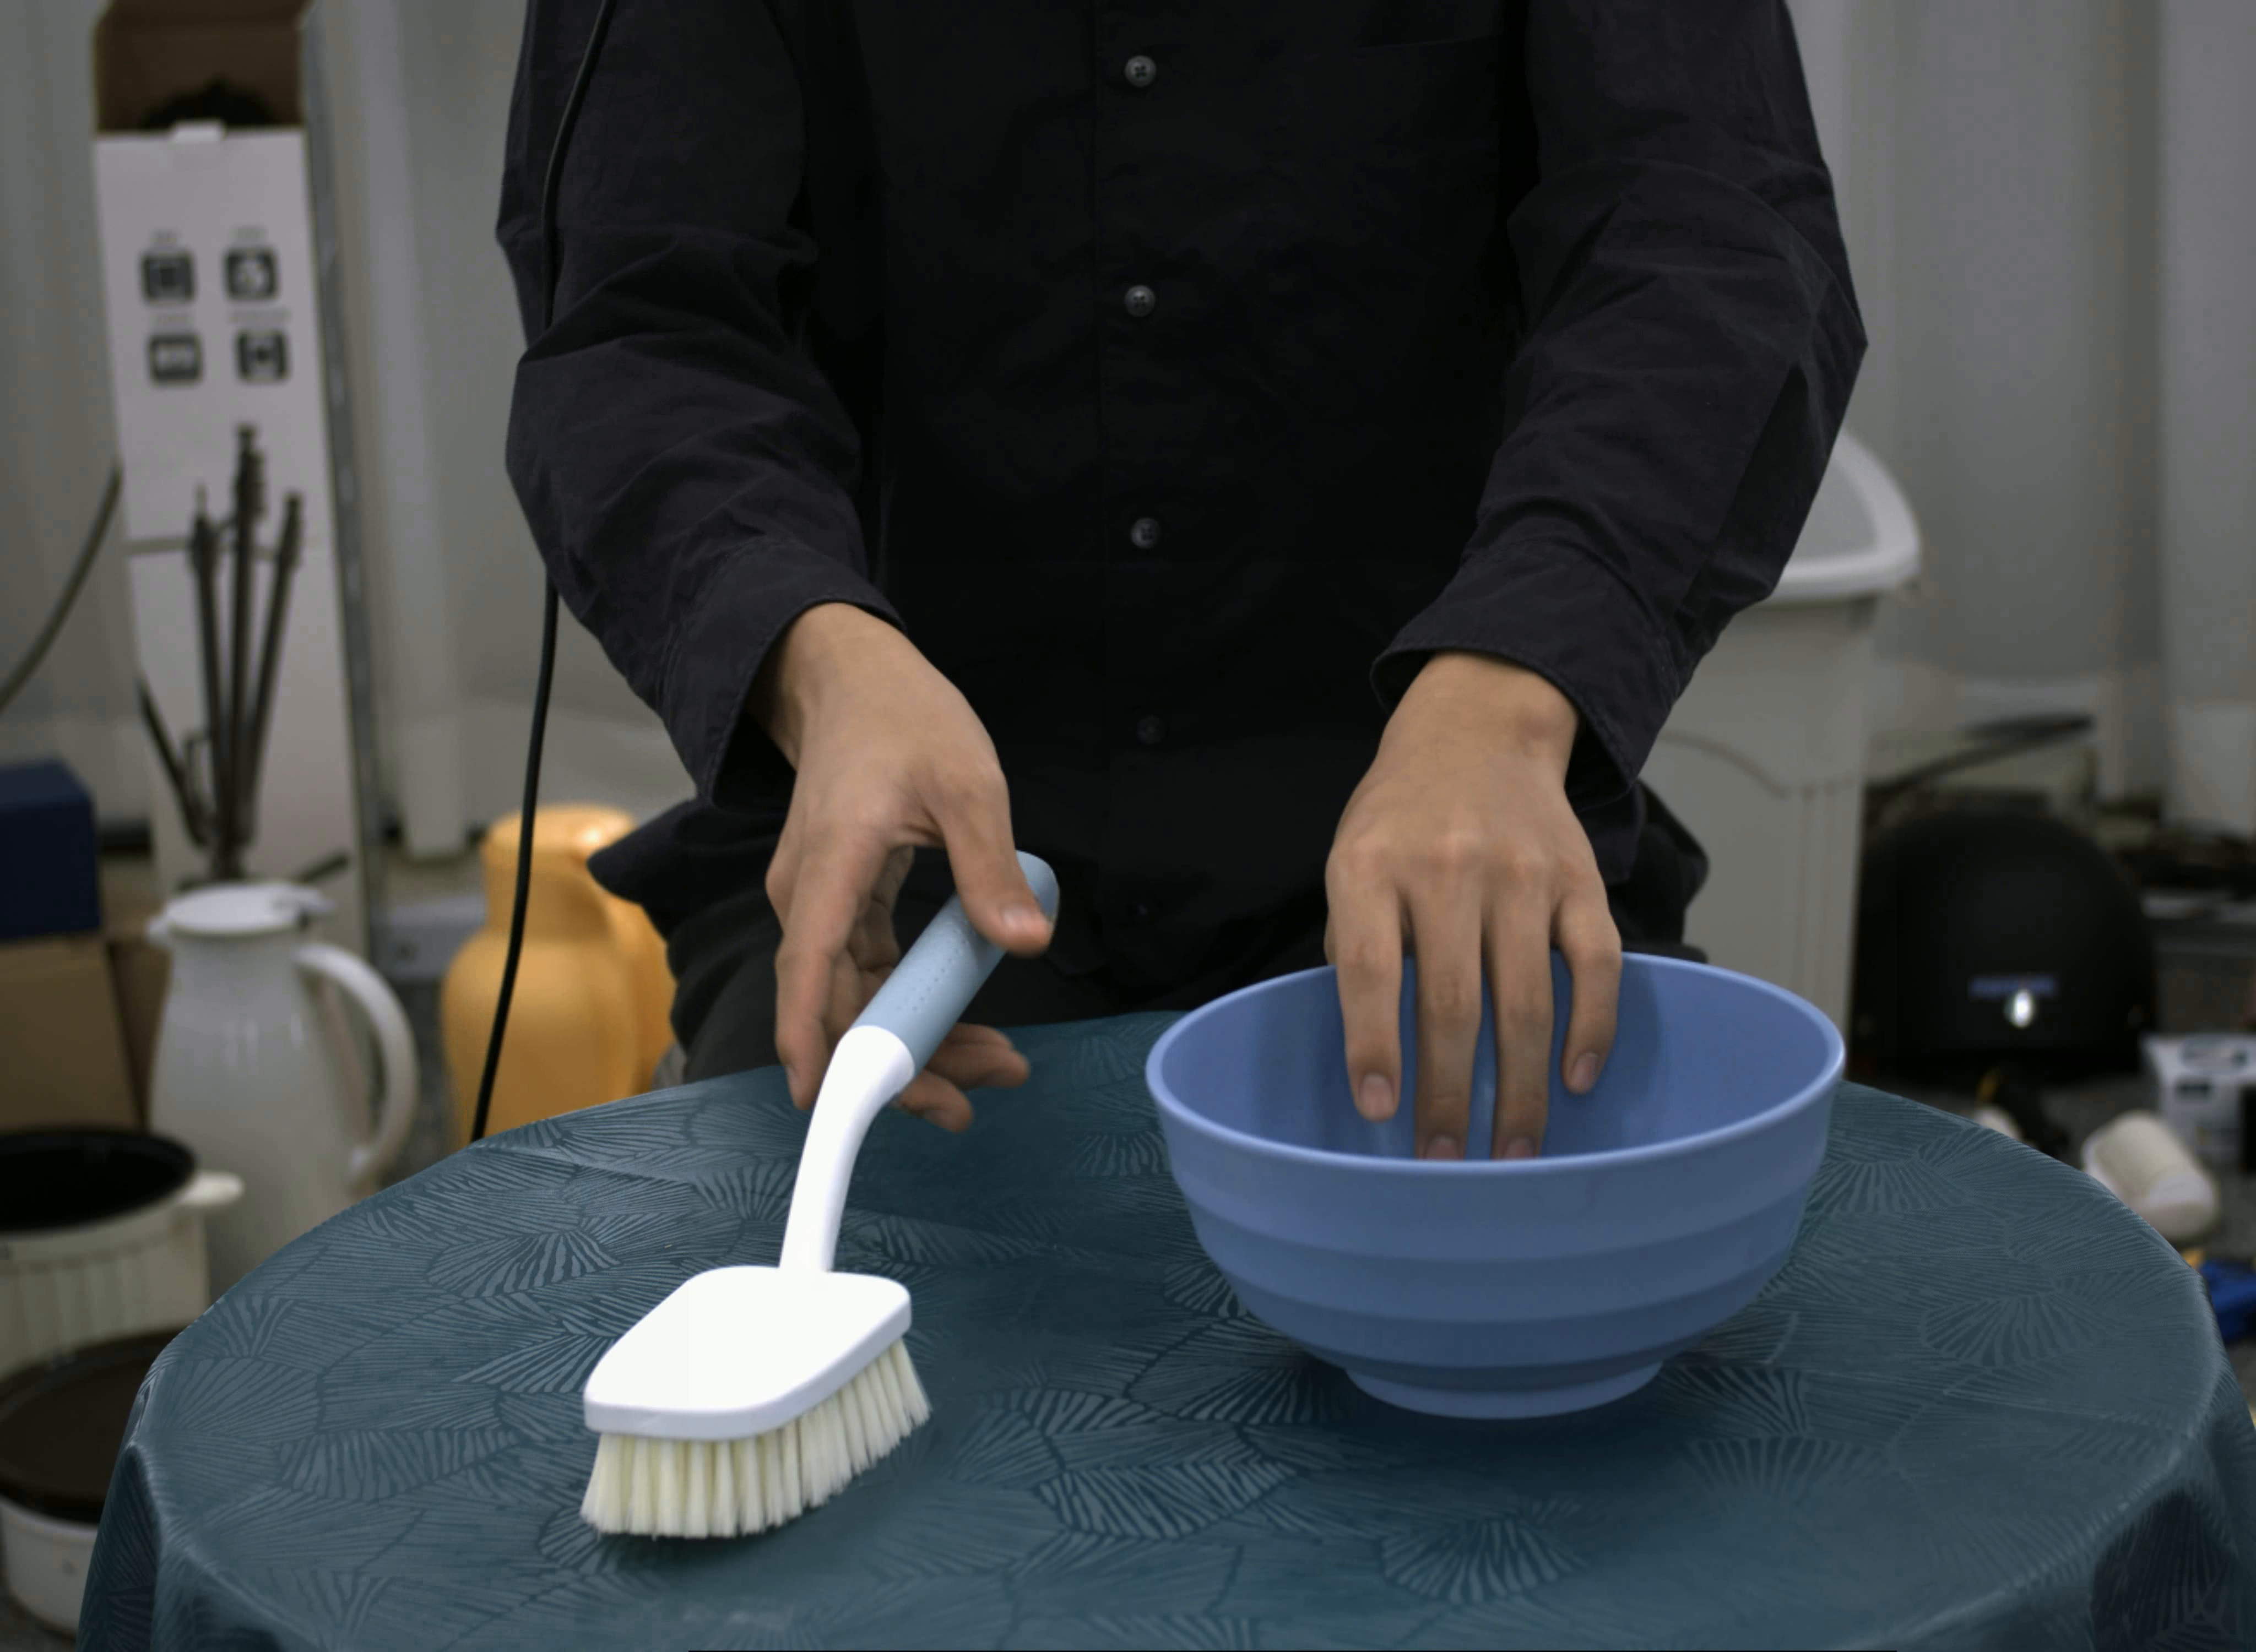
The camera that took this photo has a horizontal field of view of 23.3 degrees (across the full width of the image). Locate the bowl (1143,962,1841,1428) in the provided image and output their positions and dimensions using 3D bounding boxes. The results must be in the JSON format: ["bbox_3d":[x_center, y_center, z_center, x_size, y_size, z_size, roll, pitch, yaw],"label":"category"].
[{"bbox_3d":[0.104,0.110,1.546,0.196,0.095,0.198,-3,14,1],"label":"bowl"}]

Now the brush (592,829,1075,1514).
[{"bbox_3d":[-0.070,0.112,1.583,0.083,0.084,0.328,35,34,1],"label":"brush"}]
